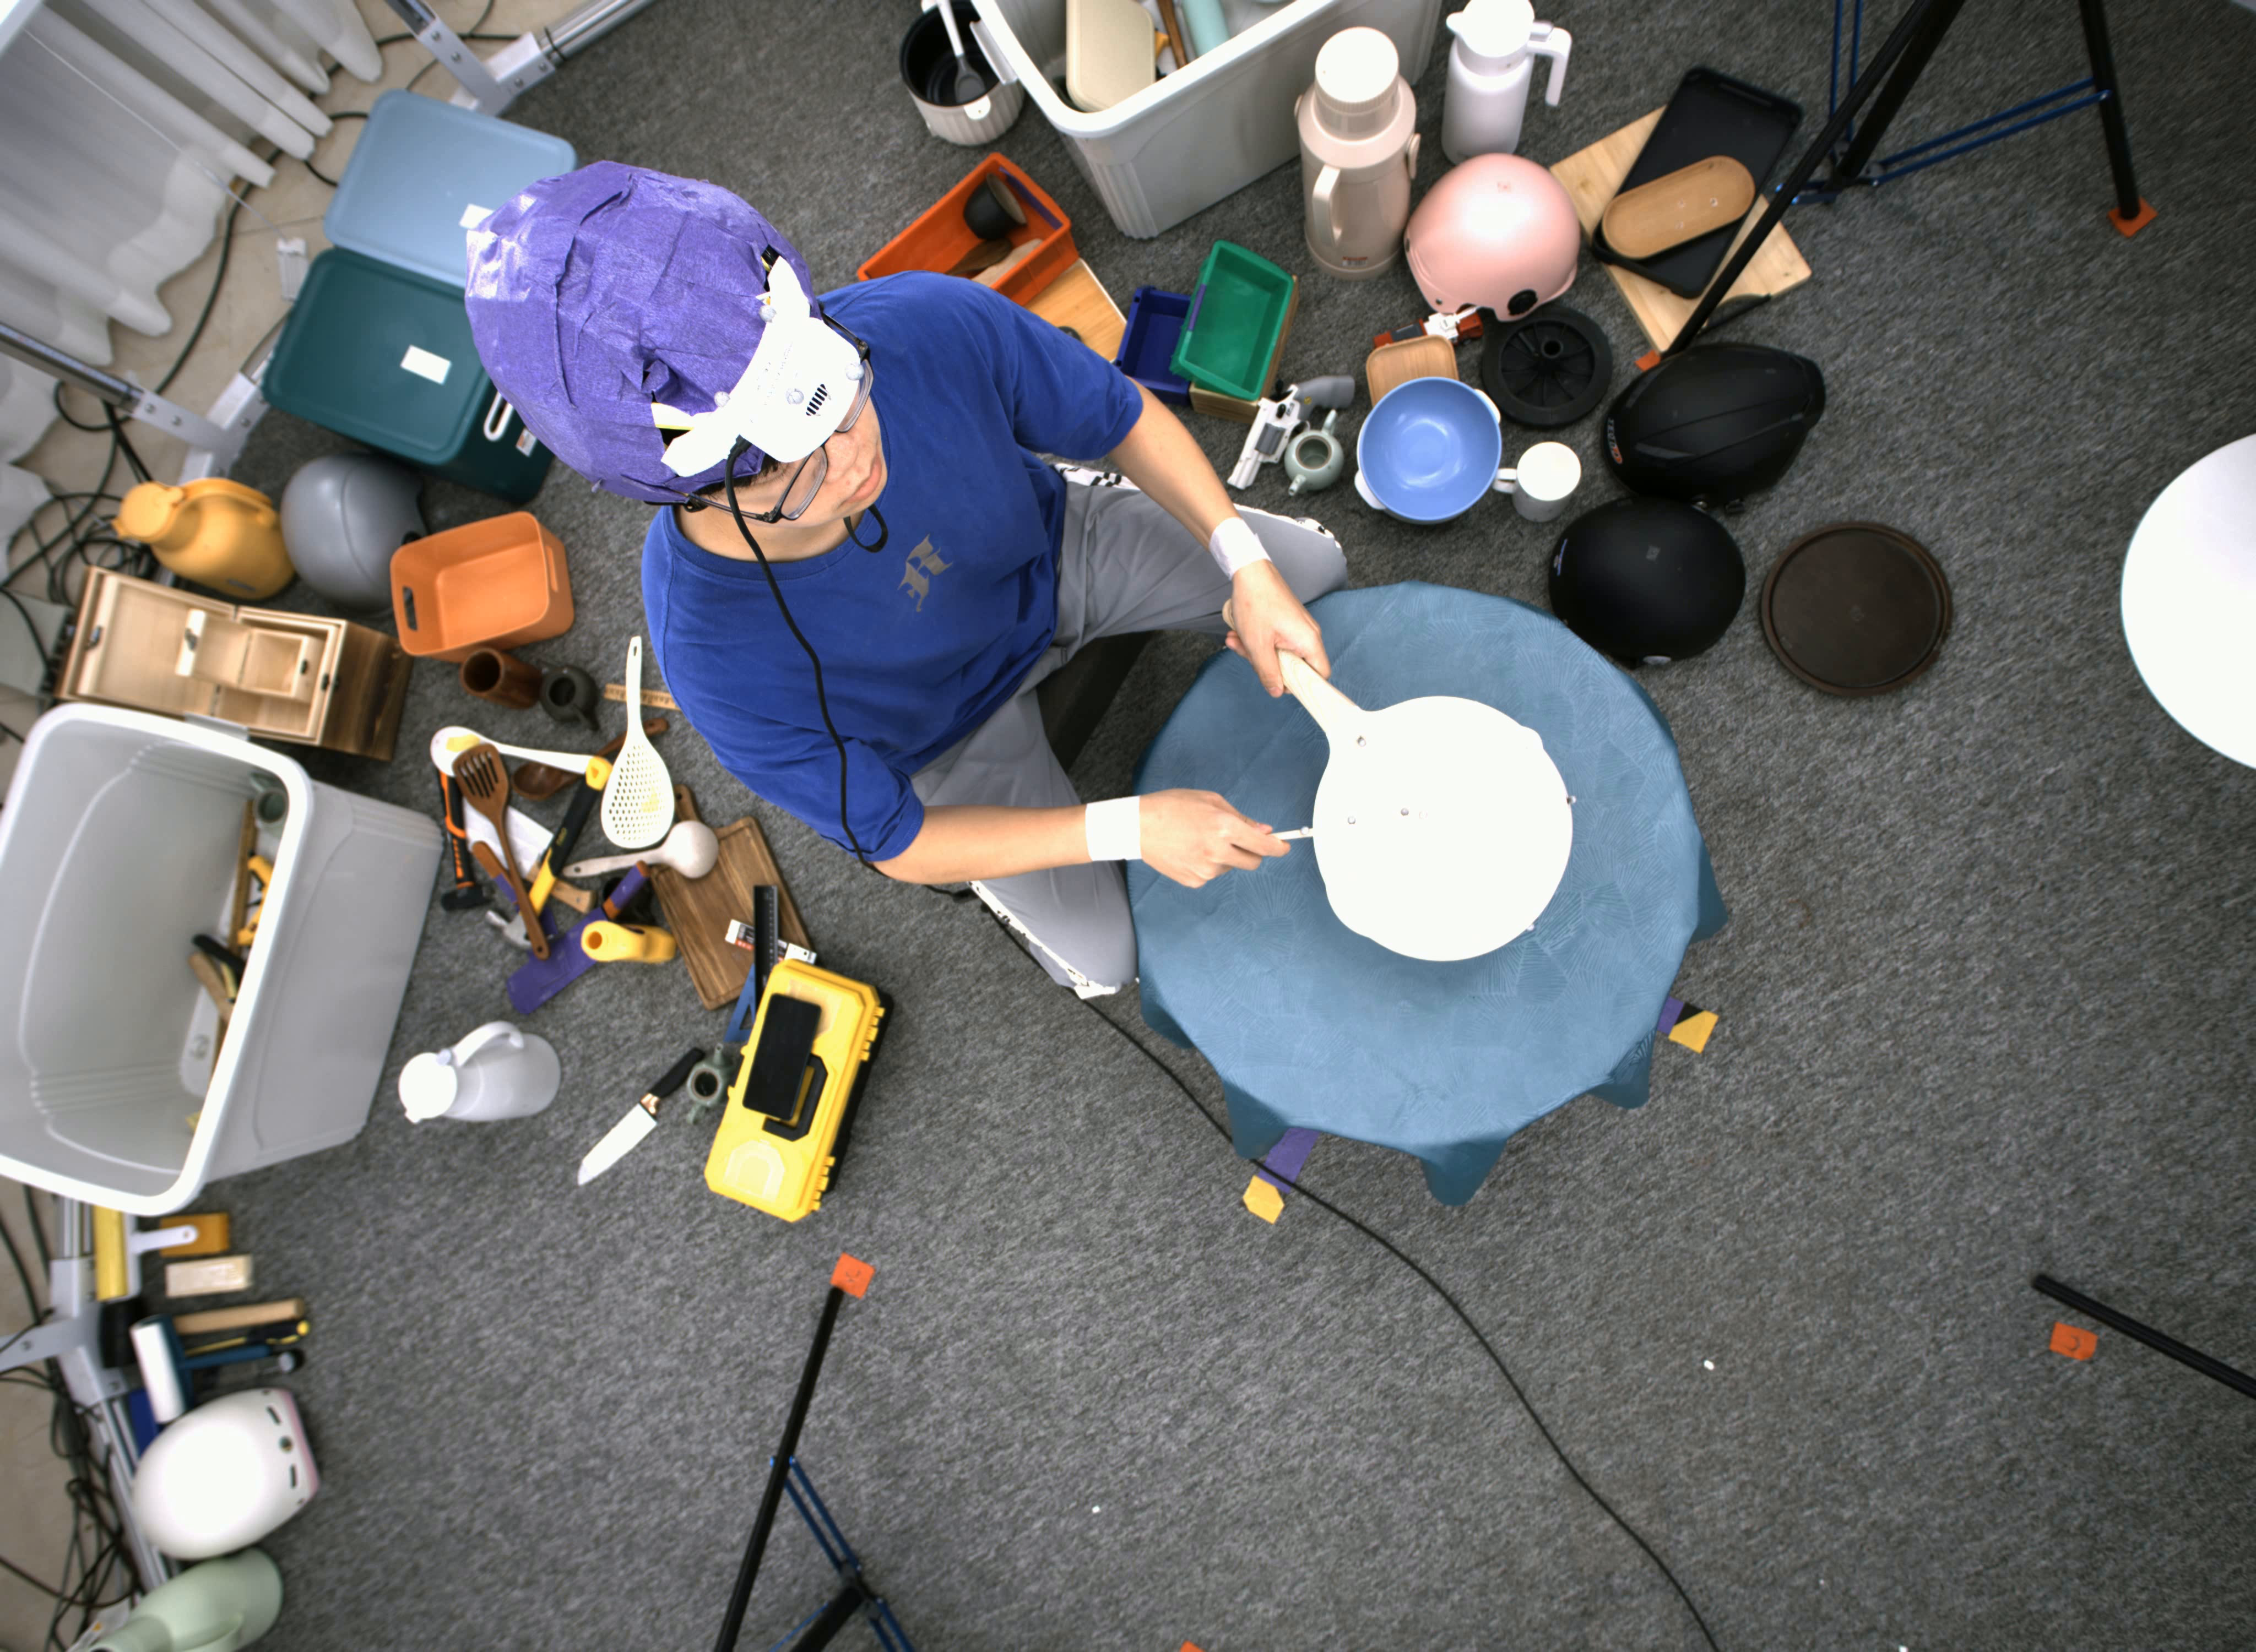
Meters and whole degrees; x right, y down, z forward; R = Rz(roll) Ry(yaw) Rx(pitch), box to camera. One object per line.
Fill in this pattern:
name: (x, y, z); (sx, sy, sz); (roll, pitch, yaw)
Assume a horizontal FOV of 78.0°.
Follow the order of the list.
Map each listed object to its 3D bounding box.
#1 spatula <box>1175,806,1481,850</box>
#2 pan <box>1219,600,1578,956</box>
spatula: (0.190, 0.002, 1.328); (0.294, 0.072, 0.010); (-7, 89, 5)
pan: (0.256, -0.071, 1.358); (0.431, 0.101, 0.268); (50, 118, 18)
